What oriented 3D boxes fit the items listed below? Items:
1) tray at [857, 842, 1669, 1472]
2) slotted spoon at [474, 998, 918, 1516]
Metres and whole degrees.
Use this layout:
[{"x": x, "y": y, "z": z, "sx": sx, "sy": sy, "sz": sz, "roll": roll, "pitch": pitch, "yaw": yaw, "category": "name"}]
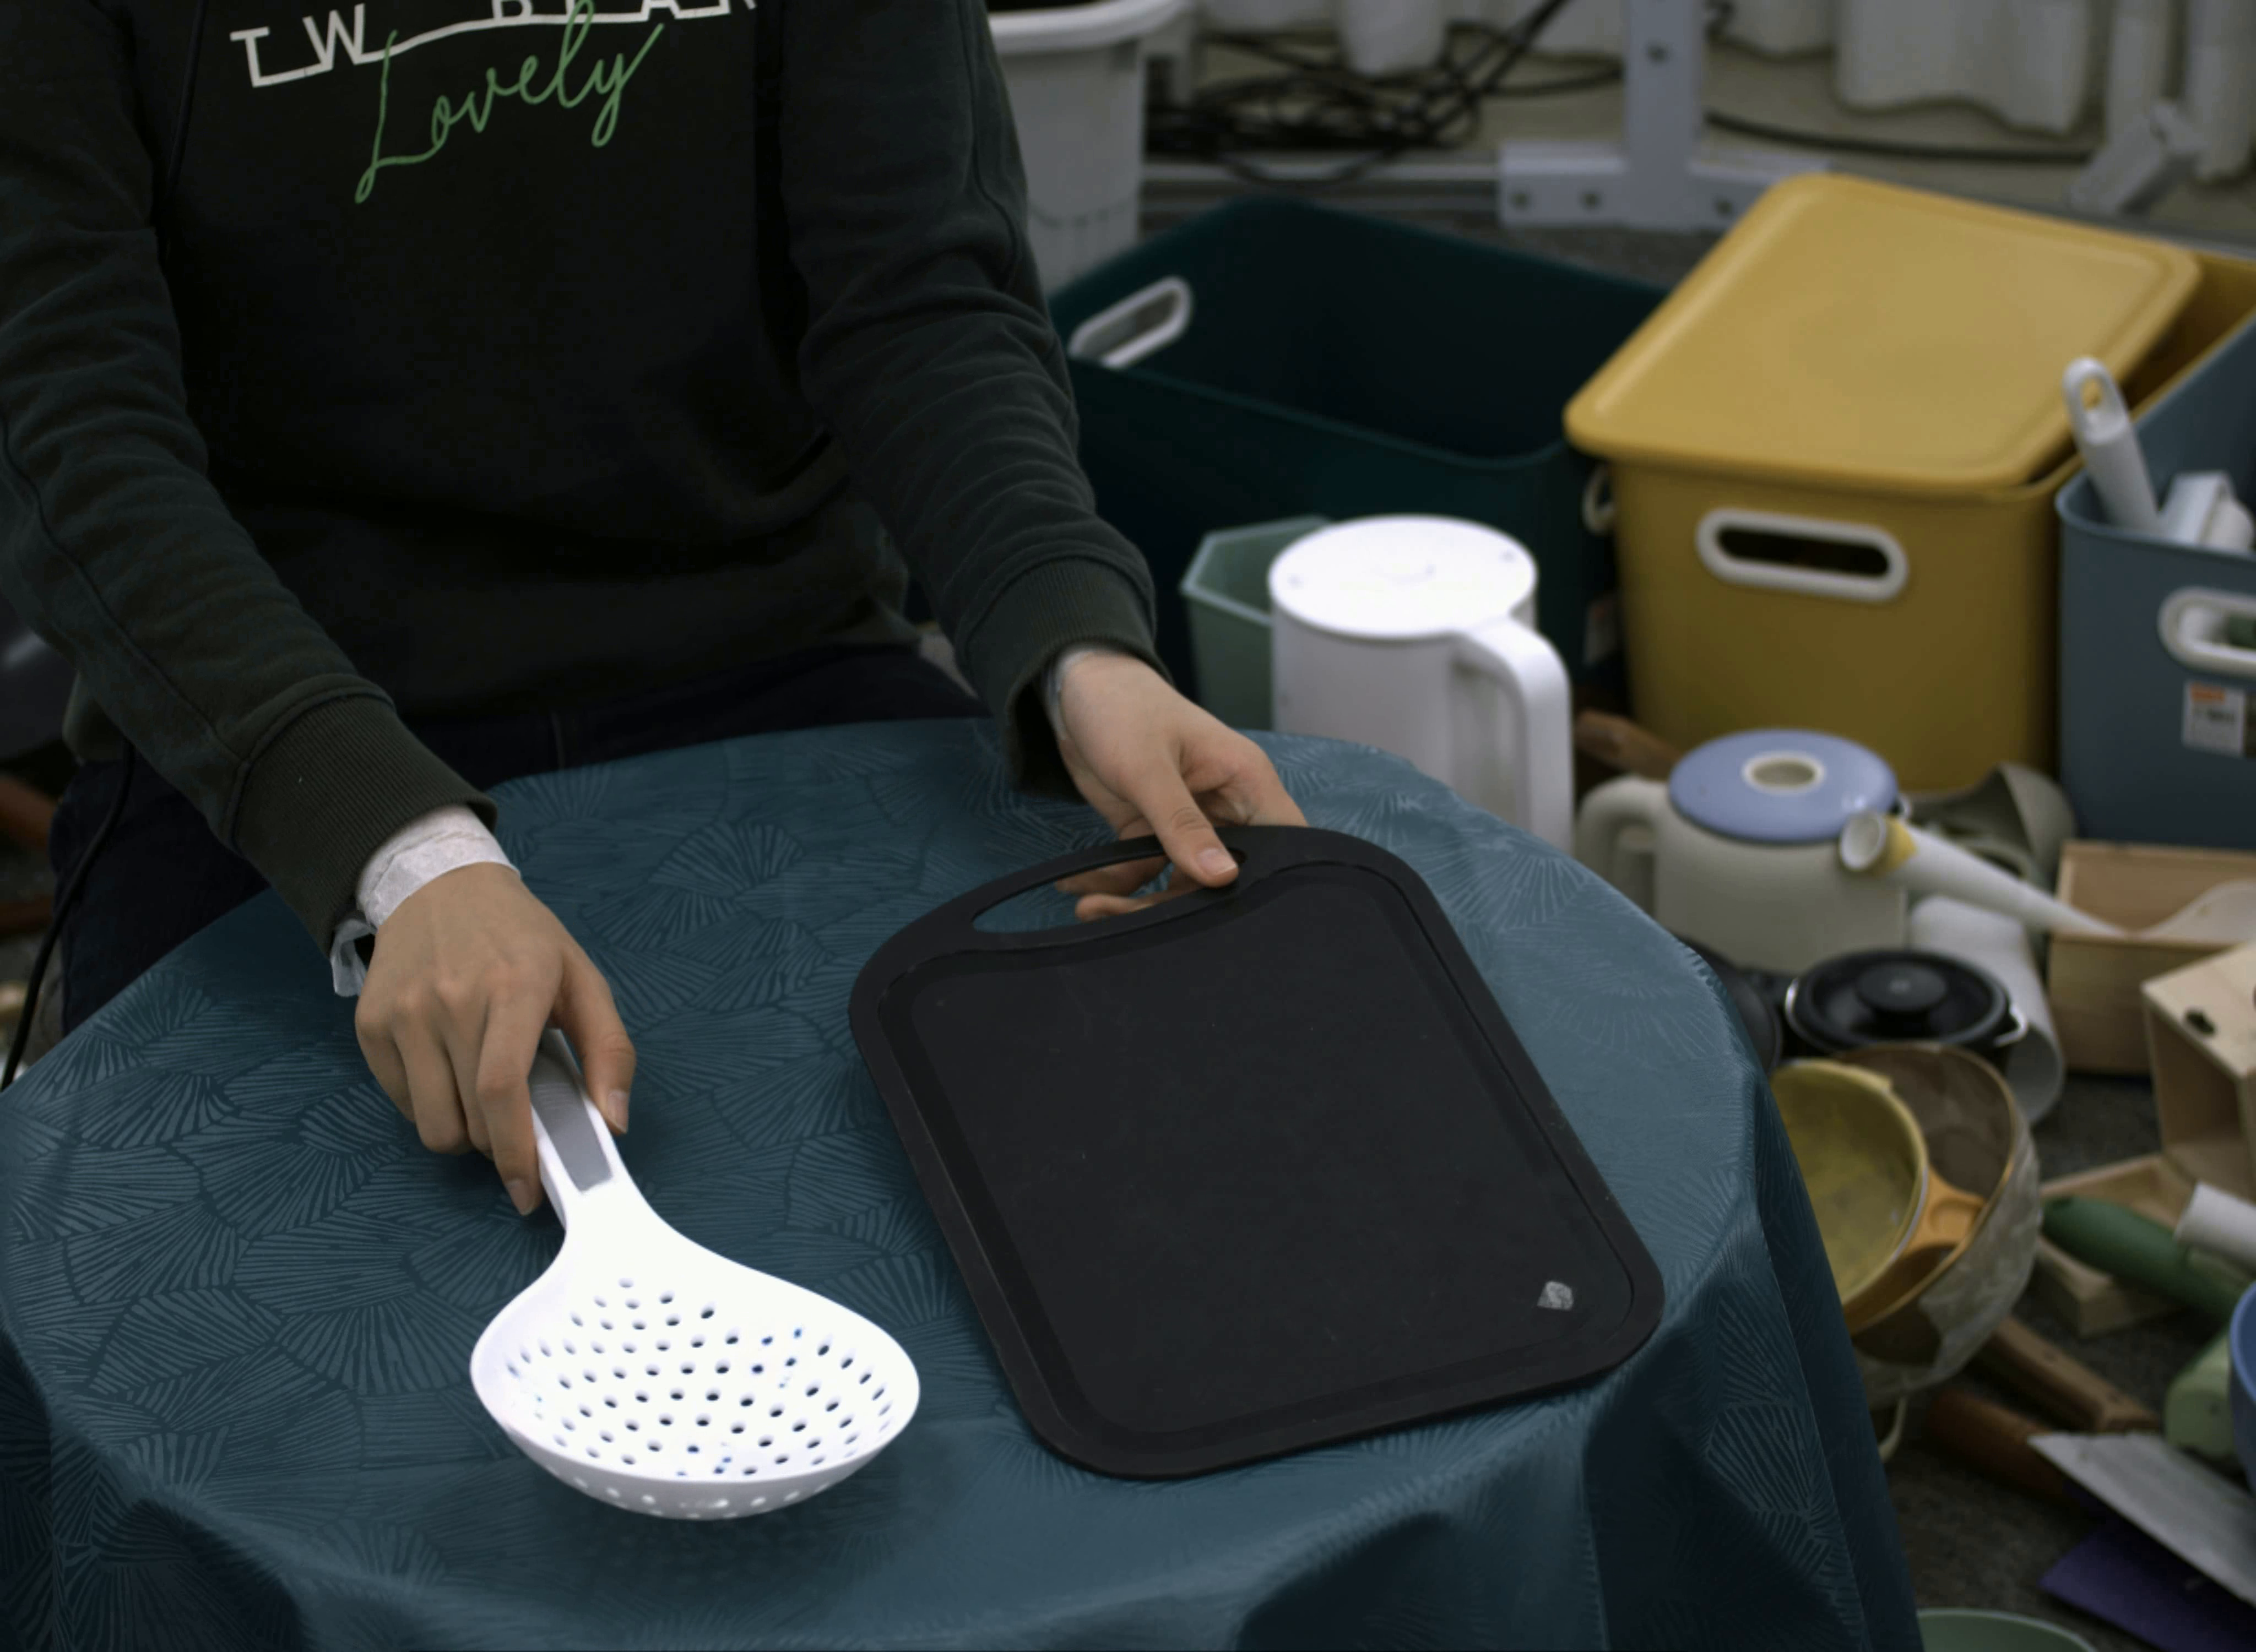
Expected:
[{"x": 0.035, "y": 0.098, "z": 1.853, "sx": 0.211, "sy": 0.009, "sz": 0.329, "roll": -11, "pitch": 35, "yaw": -13, "category": "tray"}, {"x": -0.164, "y": 0.132, "z": 1.799, "sx": 0.136, "sy": 0.045, "sz": 0.353, "roll": 0, "pitch": 26, "yaw": -19, "category": "slotted spoon"}]
